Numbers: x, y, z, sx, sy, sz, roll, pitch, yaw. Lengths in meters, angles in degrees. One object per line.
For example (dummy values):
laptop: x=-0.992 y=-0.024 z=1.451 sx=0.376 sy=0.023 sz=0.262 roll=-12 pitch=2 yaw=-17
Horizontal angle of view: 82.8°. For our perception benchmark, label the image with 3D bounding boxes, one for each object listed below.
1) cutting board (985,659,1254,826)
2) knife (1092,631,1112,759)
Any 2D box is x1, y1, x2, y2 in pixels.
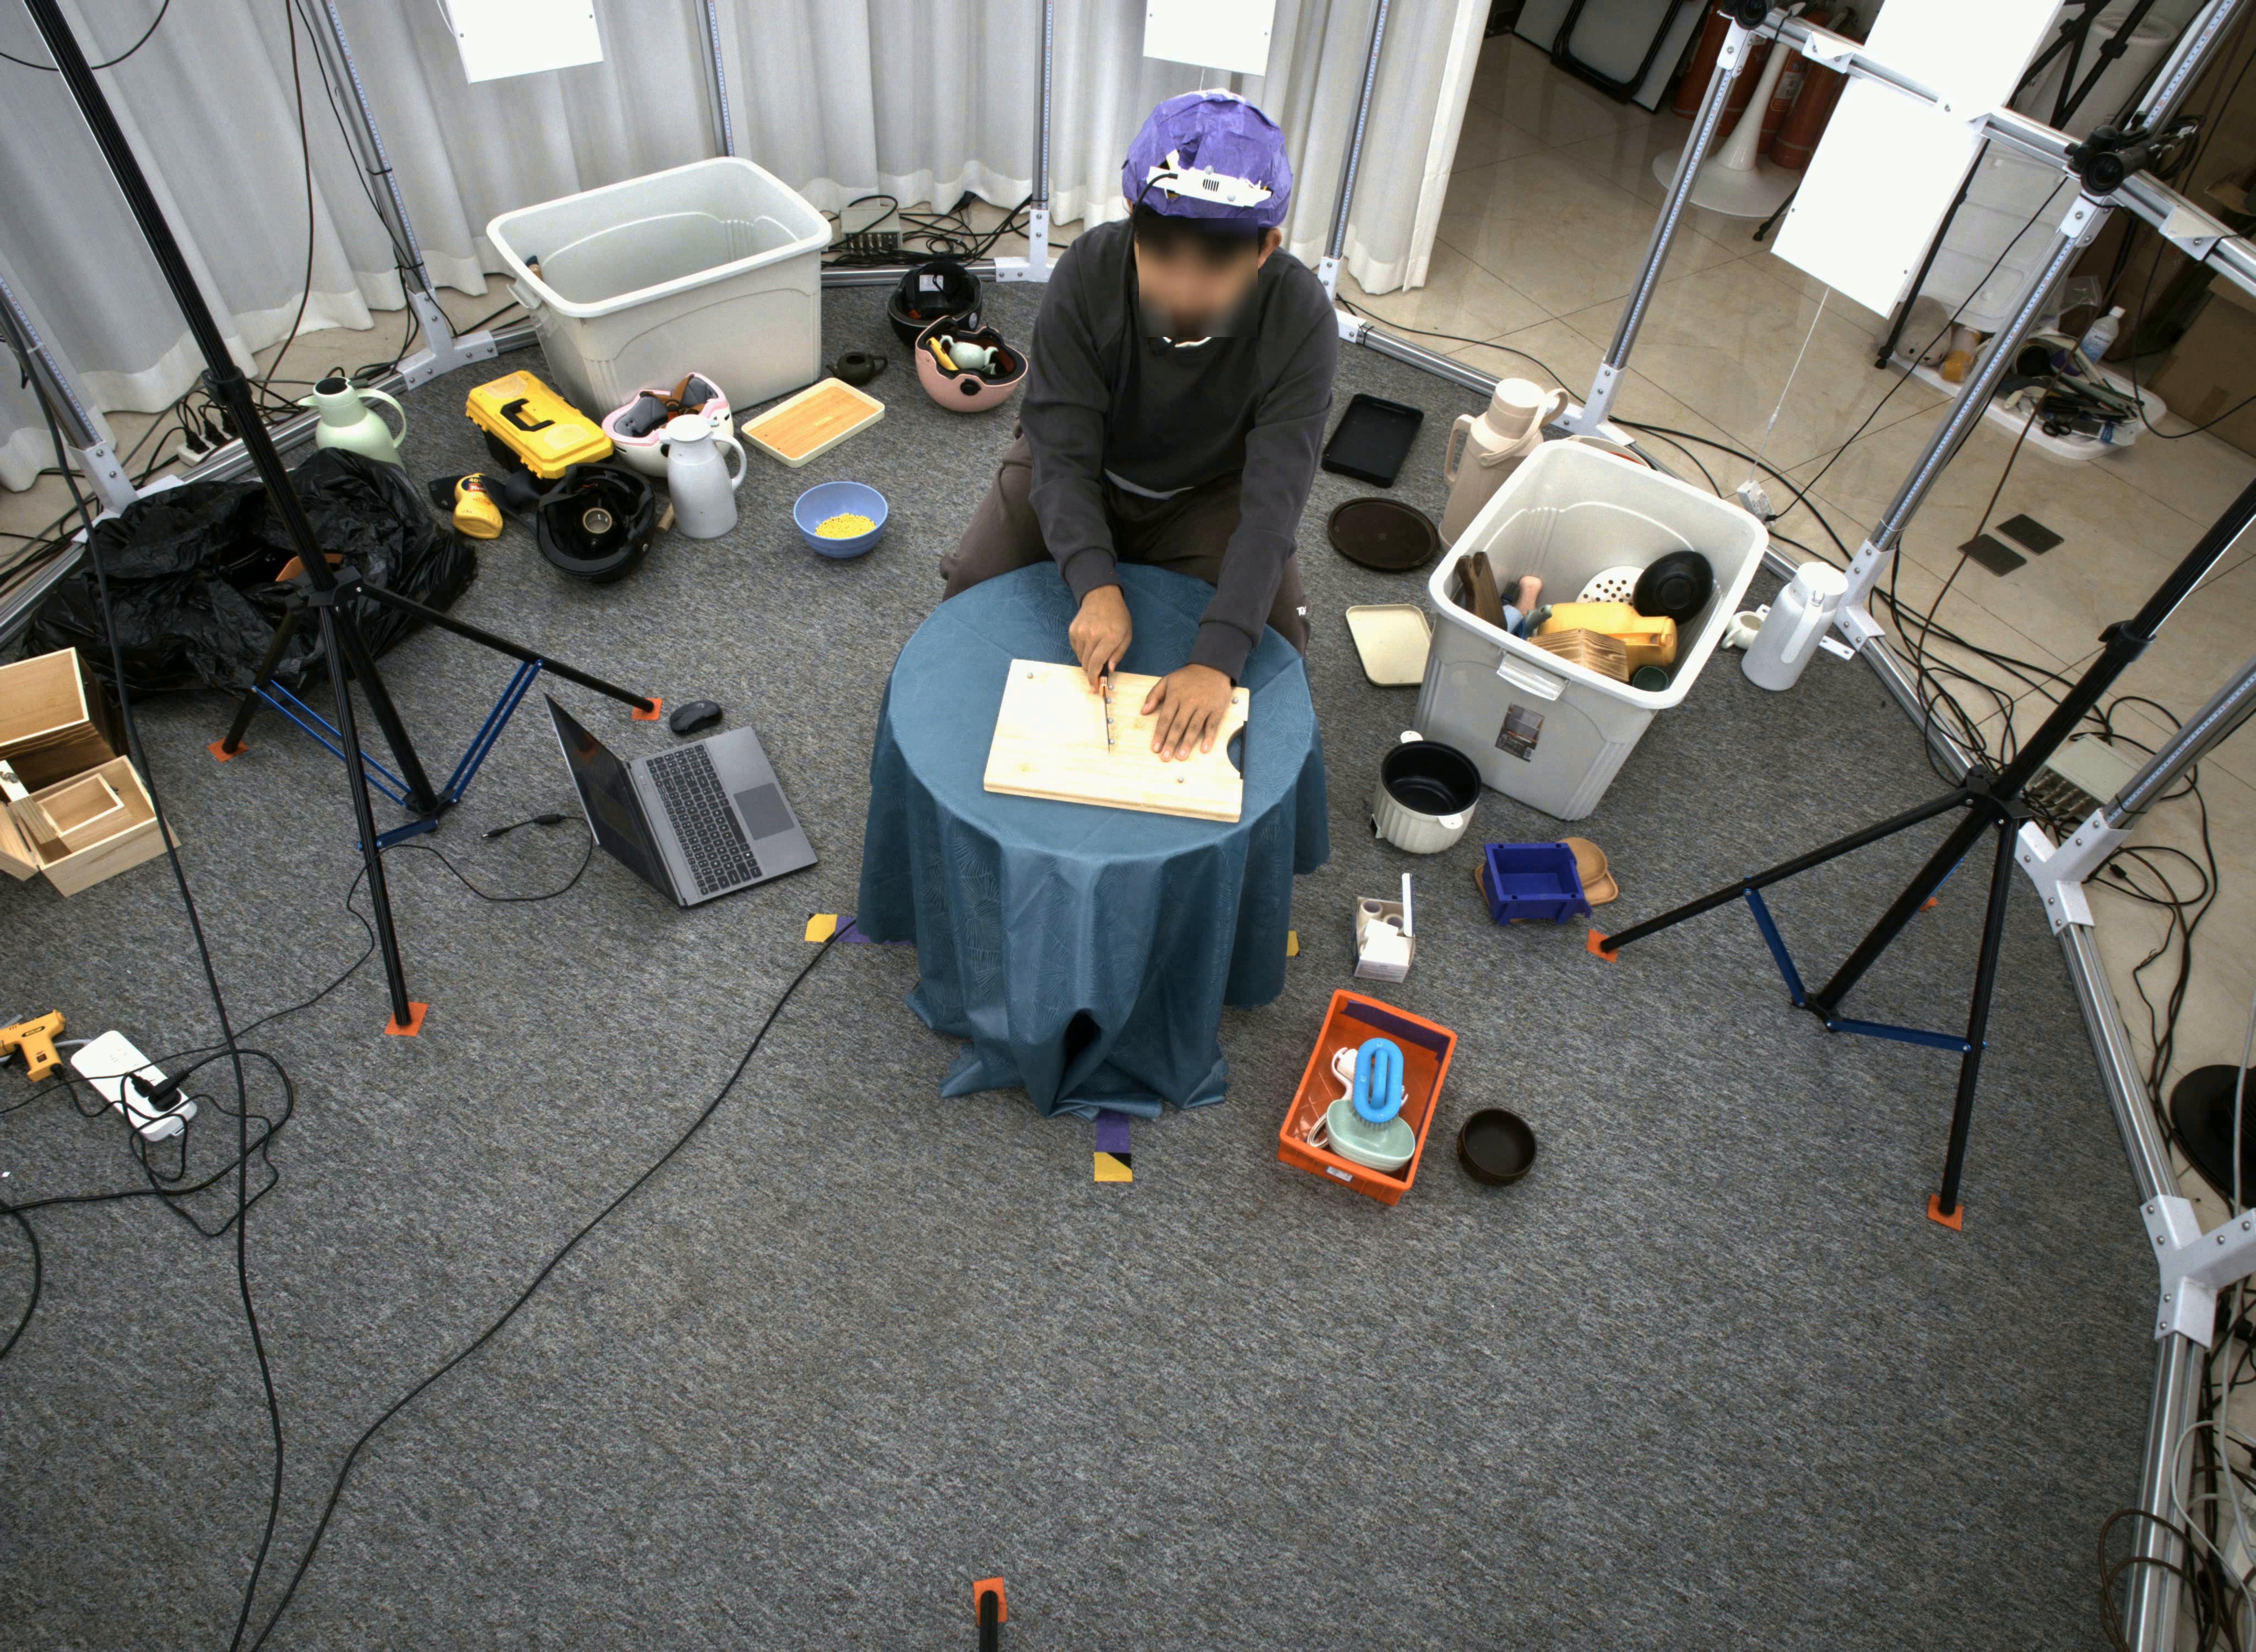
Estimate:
cutting board: x=-0.004 y=-0.120 z=1.758 sx=0.348 sy=0.023 sz=0.257 roll=6 pitch=49 yaw=1
knife: x=-0.034 y=-0.185 z=1.777 sx=0.017 sy=0.025 sz=0.231 roll=-1 pitch=53 yaw=-8
